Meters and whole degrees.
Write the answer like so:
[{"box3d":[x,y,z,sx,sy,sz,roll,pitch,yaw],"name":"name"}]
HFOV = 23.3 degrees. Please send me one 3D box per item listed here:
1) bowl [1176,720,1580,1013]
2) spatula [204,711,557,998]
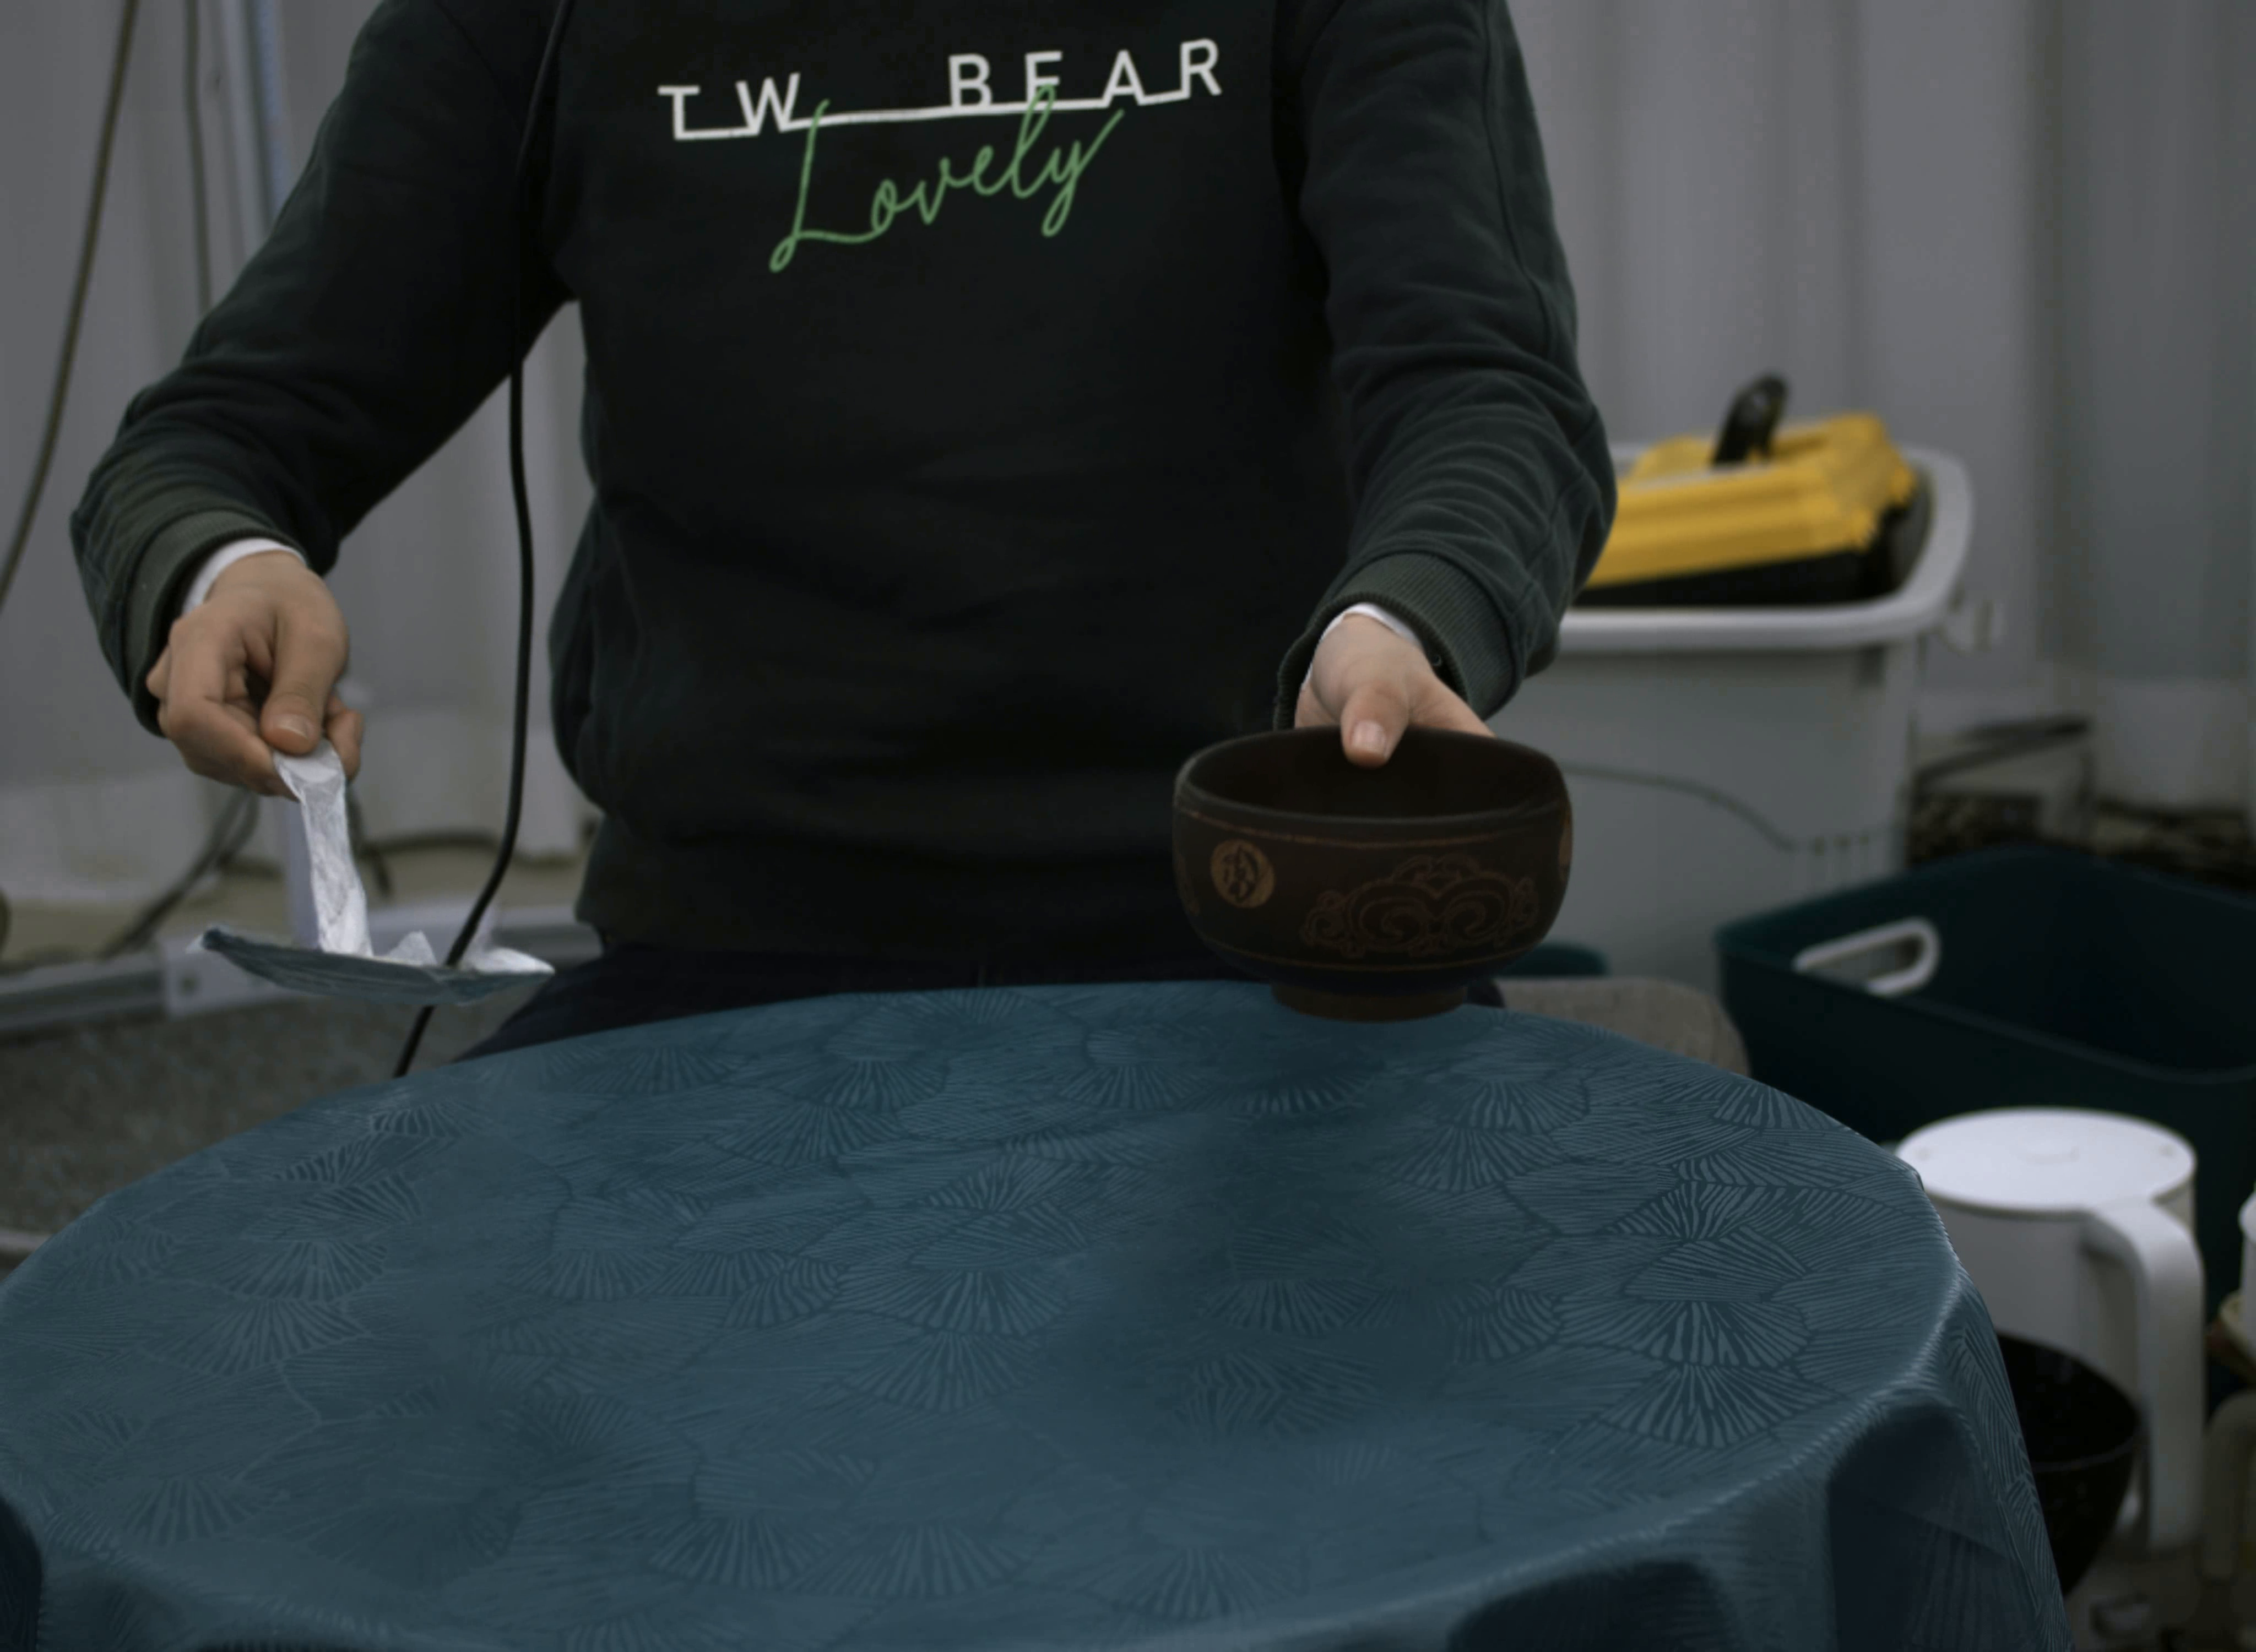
[{"box3d":[0.072,0.014,1.599,0.117,0.069,0.119,1,12,-1],"name":"bowl"},{"box3d":[-0.241,-0.001,1.673,0.098,0.044,0.368,7,16,-14],"name":"spatula"}]
